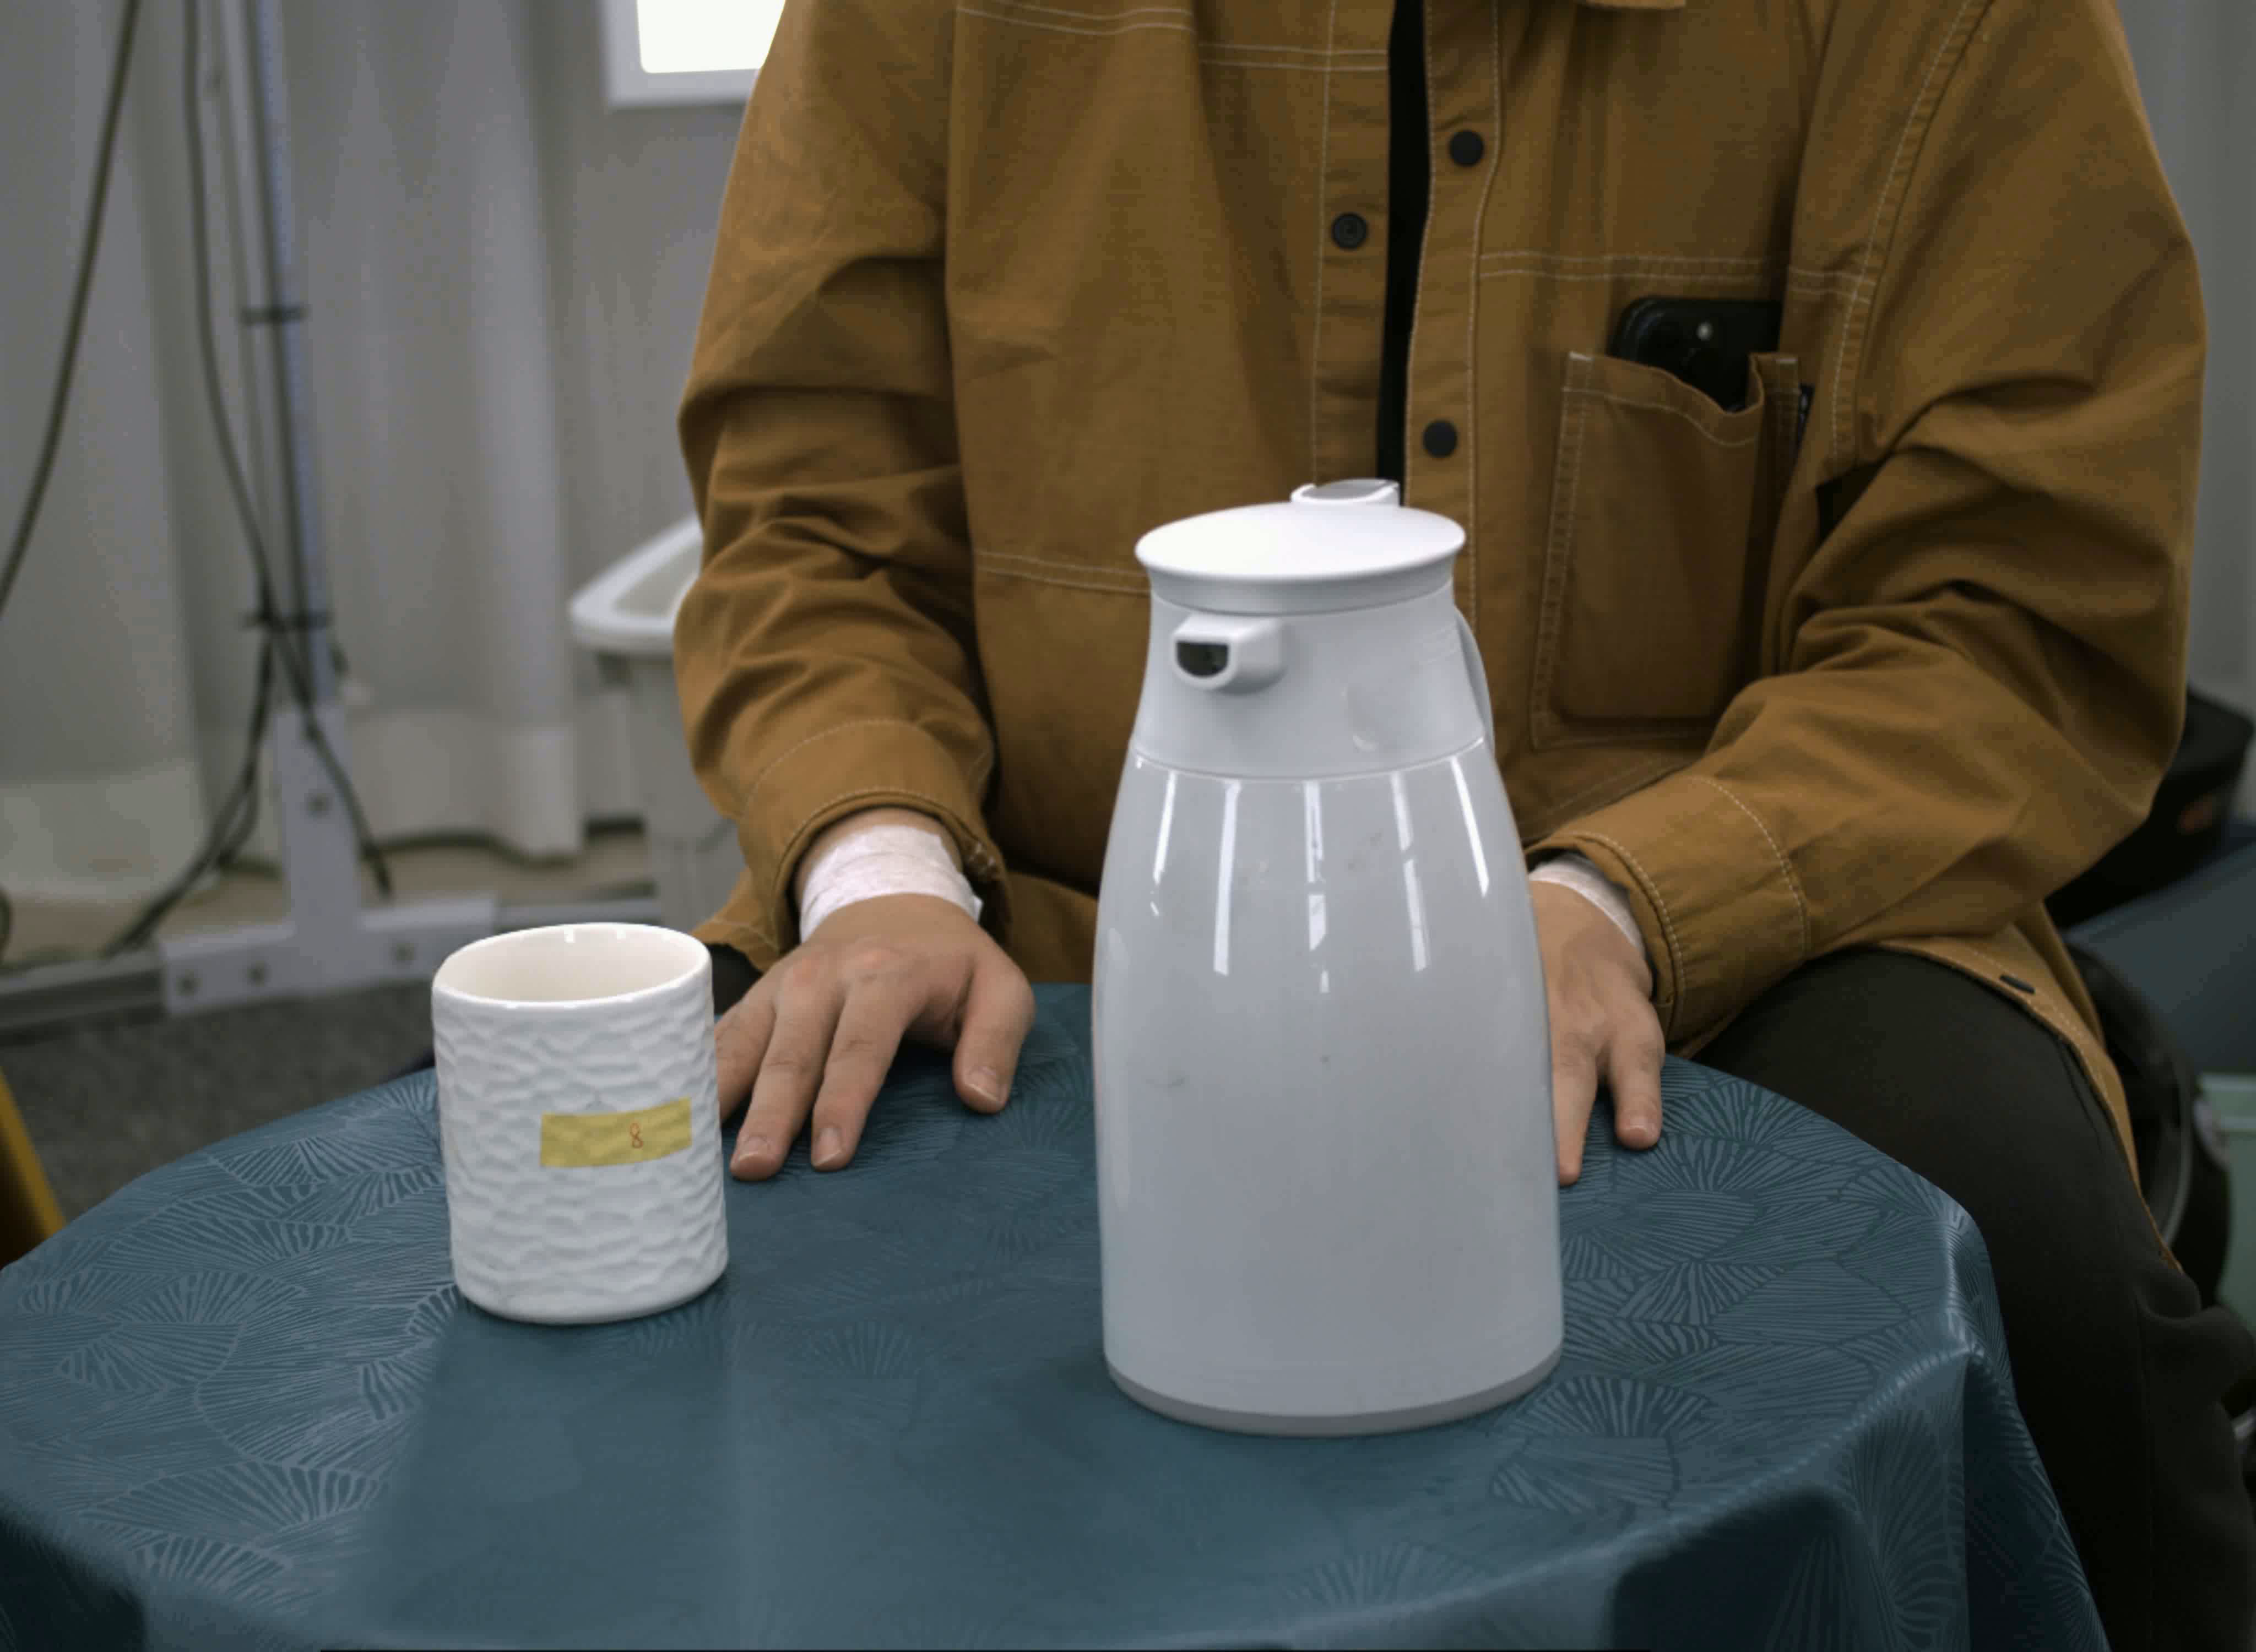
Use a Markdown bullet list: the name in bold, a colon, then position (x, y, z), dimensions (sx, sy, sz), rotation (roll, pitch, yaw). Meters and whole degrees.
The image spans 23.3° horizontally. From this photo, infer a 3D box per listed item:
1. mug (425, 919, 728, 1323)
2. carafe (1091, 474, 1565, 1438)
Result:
- **mug**: position (-0.165, 0.085, 1.659), dimensions (0.084, 0.101, 0.119), rotation (-3, 14, -1)
- **carafe**: position (0.060, 0.028, 1.551), dimensions (0.133, 0.248, 0.168), rotation (3, 14, 26)
